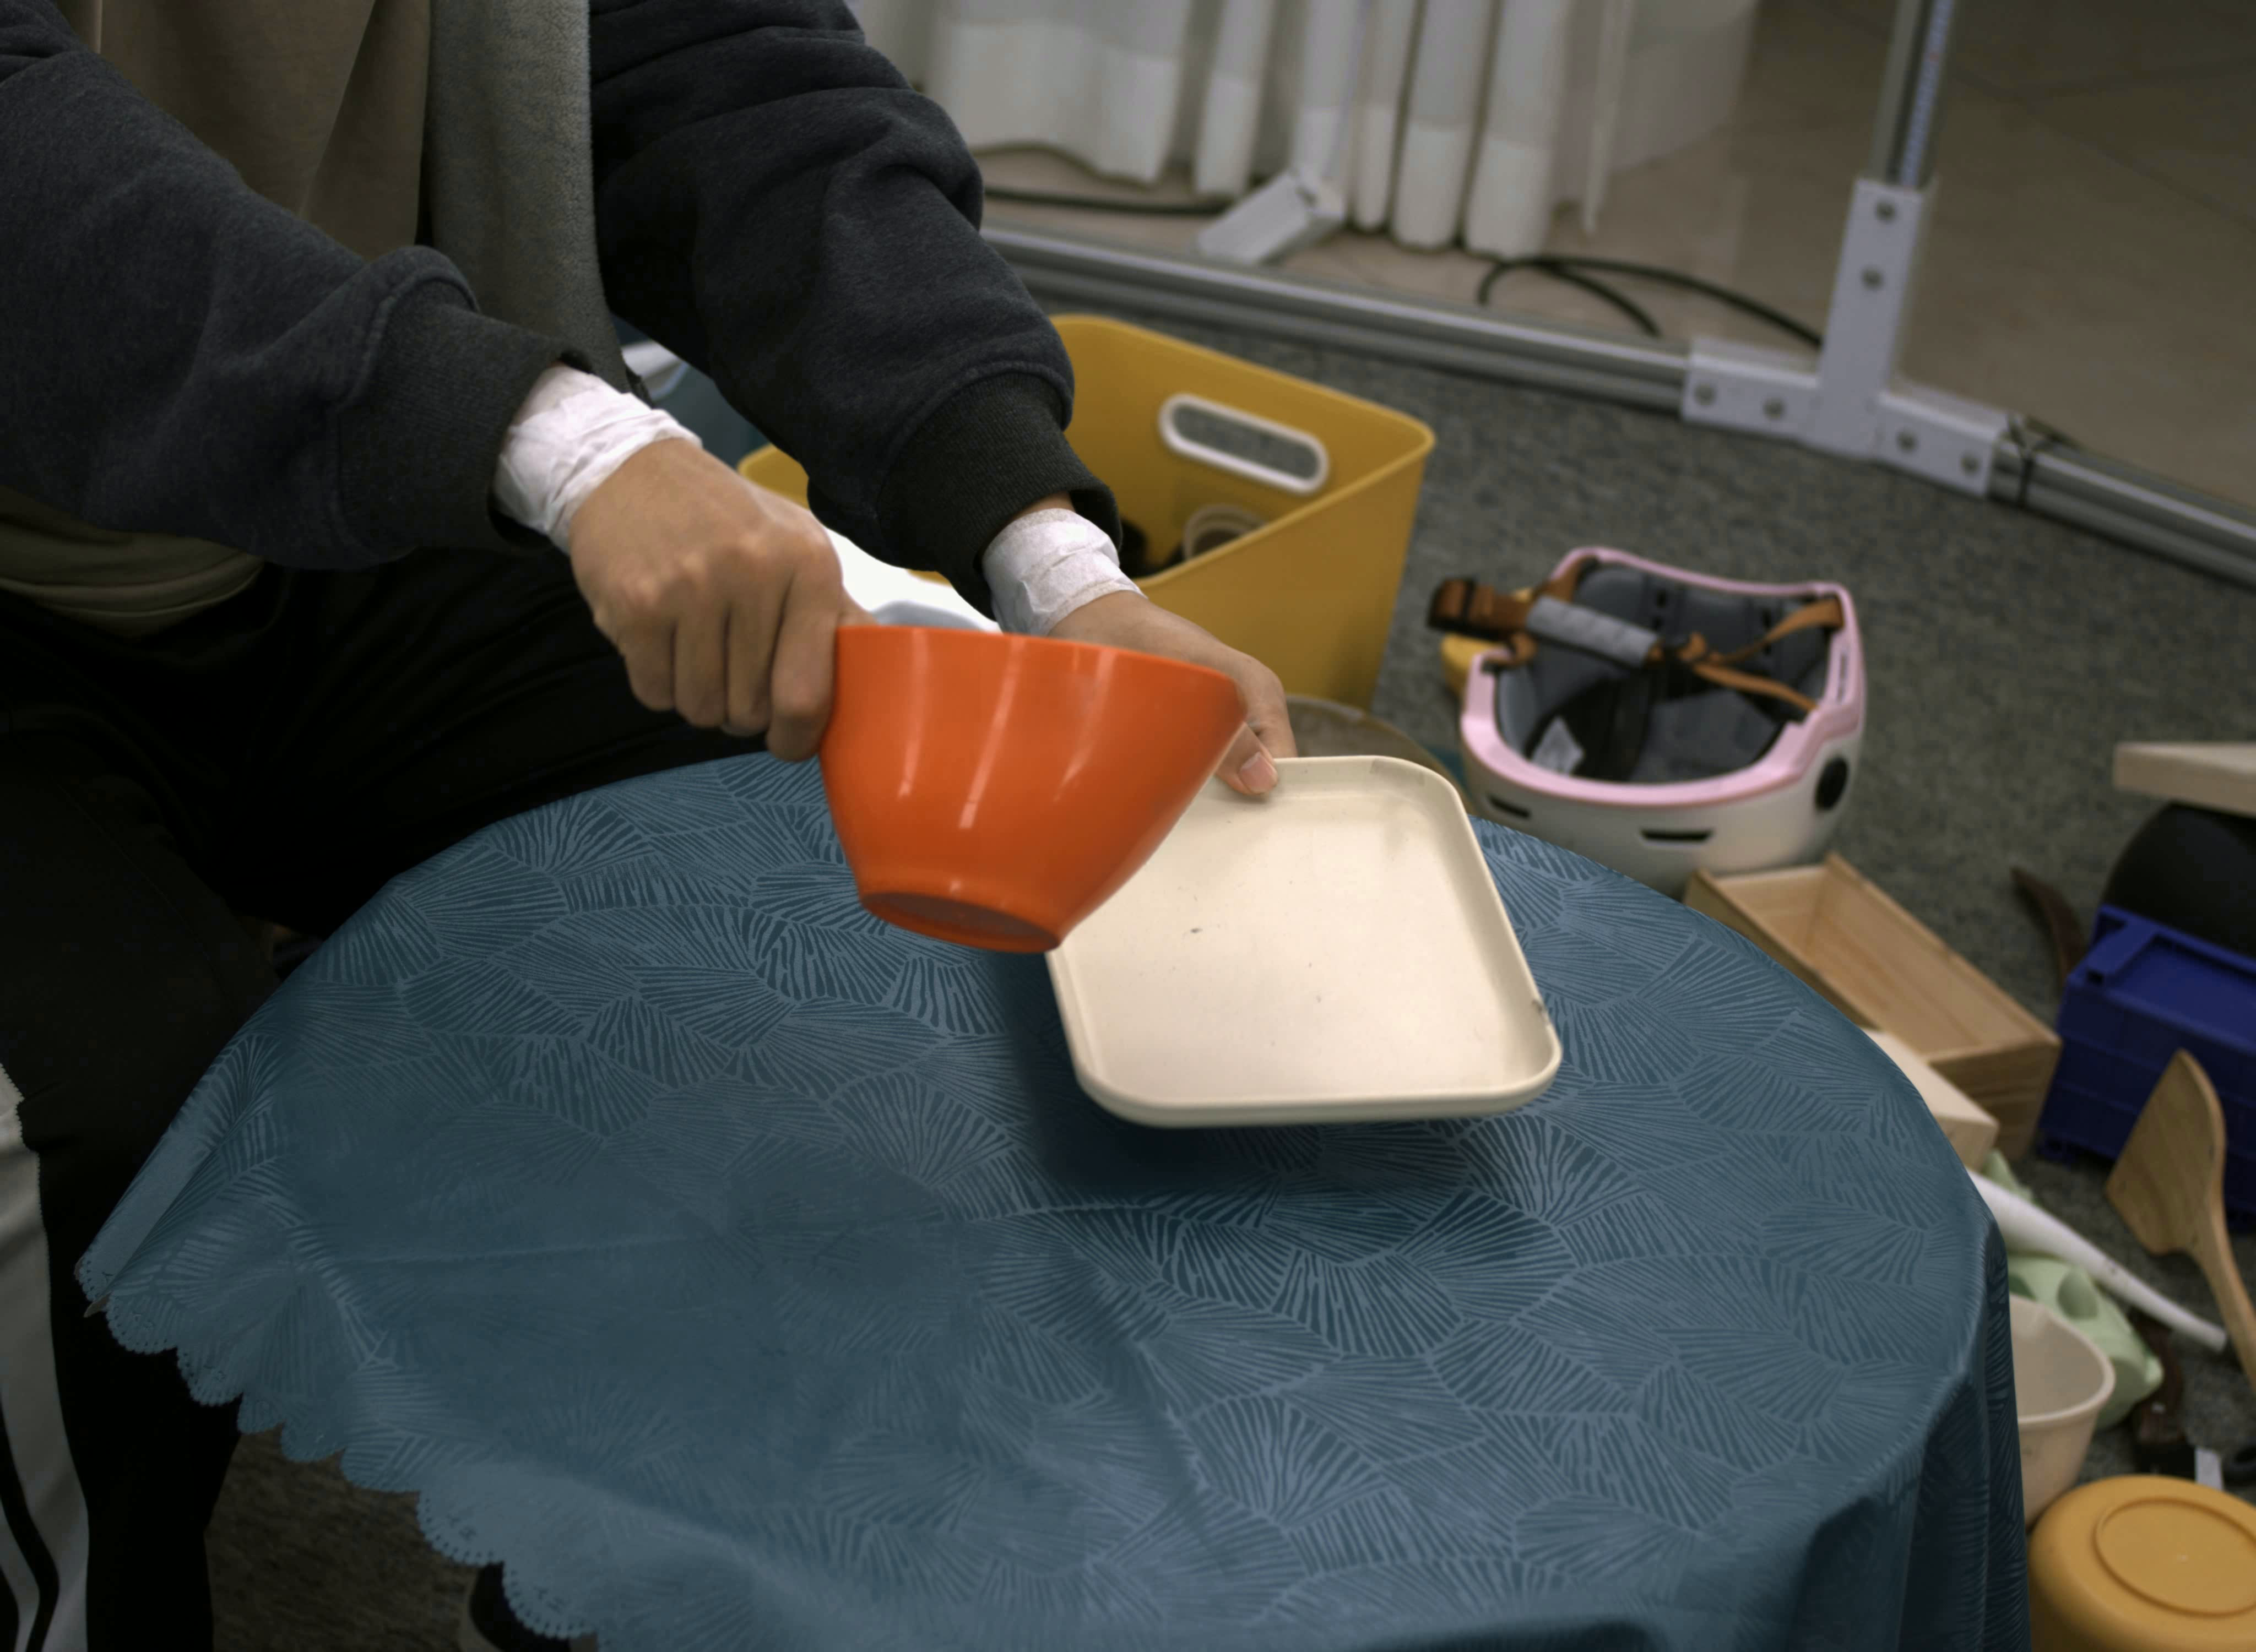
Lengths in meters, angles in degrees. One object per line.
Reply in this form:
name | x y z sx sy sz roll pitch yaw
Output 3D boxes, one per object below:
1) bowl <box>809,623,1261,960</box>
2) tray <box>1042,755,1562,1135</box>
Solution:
bowl | -0.039 -0.012 1.722 0.148 0.105 0.147 13 -13 3
tray | 0.052 0.041 1.894 0.170 0.017 0.241 -2 30 -7
